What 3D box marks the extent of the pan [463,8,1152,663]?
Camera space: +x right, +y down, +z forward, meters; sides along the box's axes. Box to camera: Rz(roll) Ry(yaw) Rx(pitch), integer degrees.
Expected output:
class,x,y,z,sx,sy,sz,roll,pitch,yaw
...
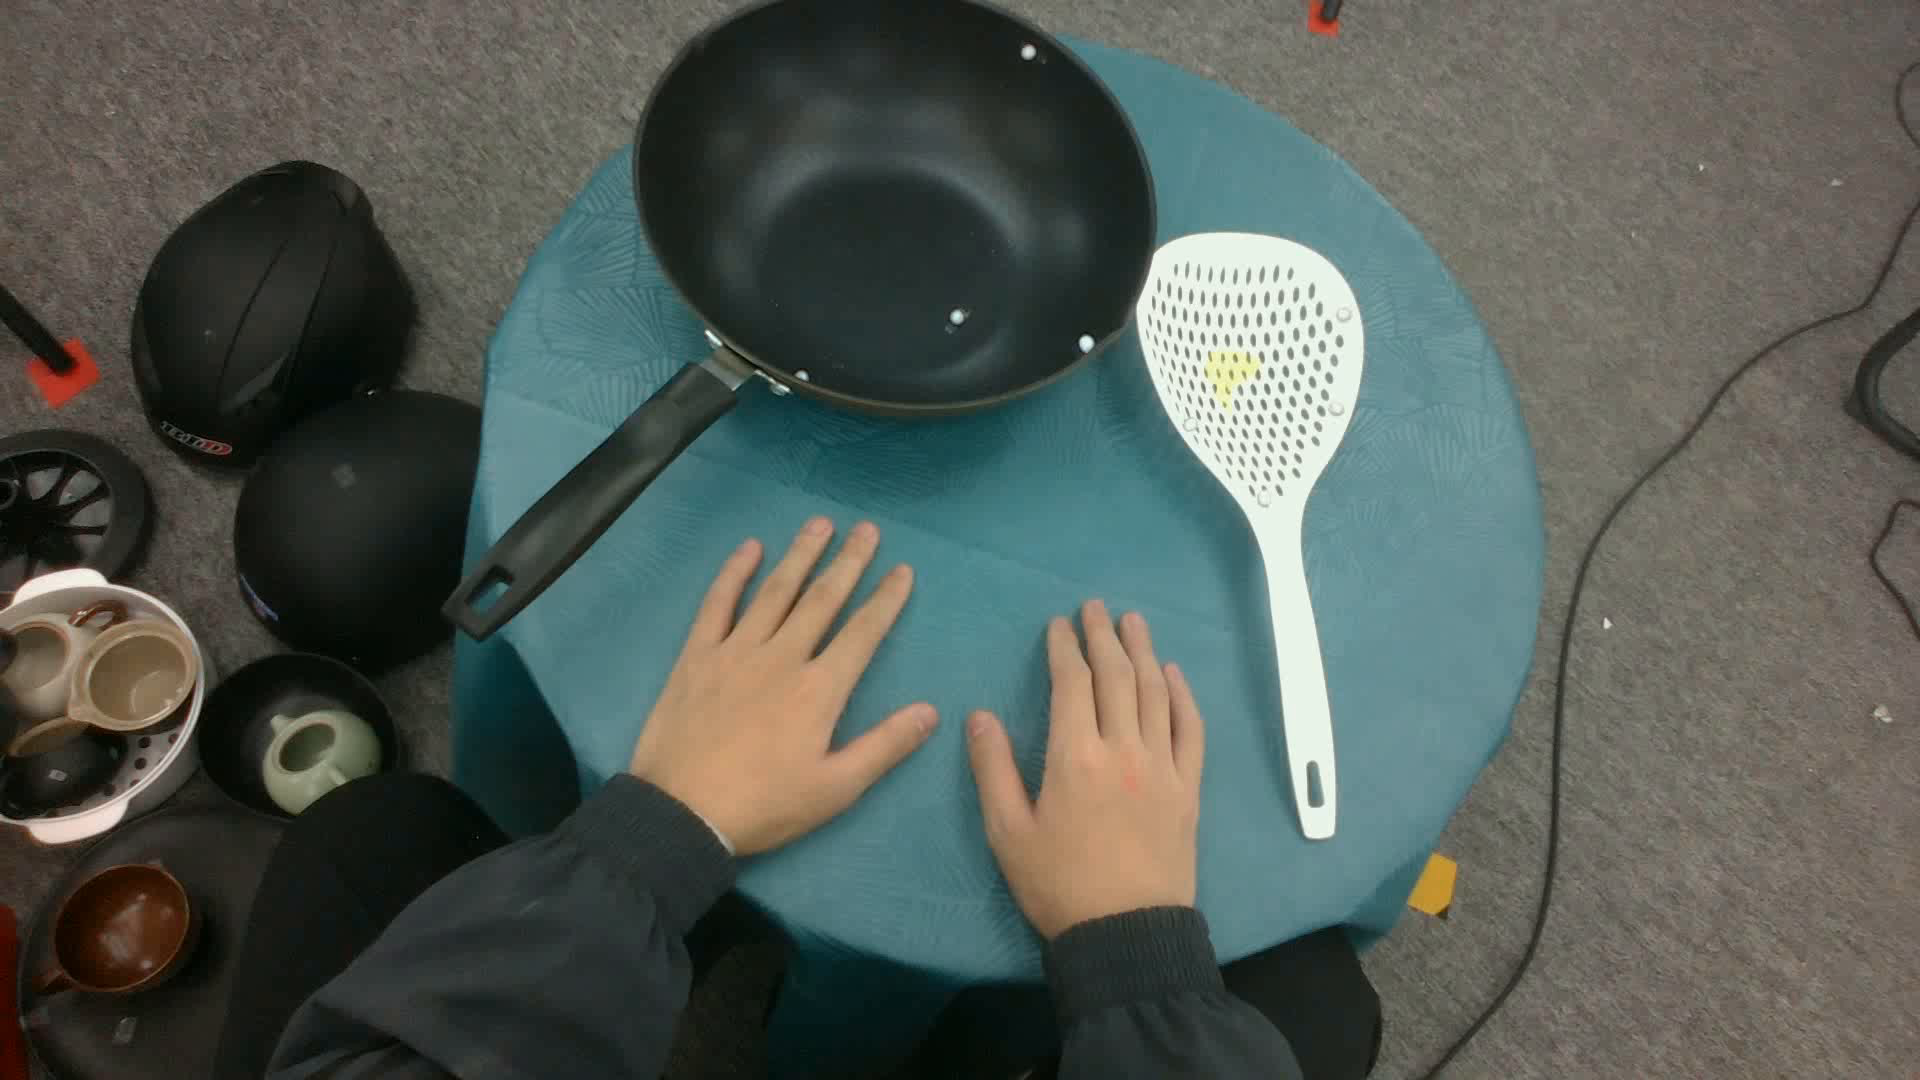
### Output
class,x,y,z,sx,sy,sz,roll,pitch,yaw
pan,-0.087,-0.102,0.748,0.288,0.086,0.465,32,66,9

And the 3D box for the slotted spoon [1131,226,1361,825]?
class,x,y,z,sx,sy,sz,roll,pitch,yaw
slotted spoon,0.175,-0.020,0.763,0.137,0.050,0.349,-2,65,-10
